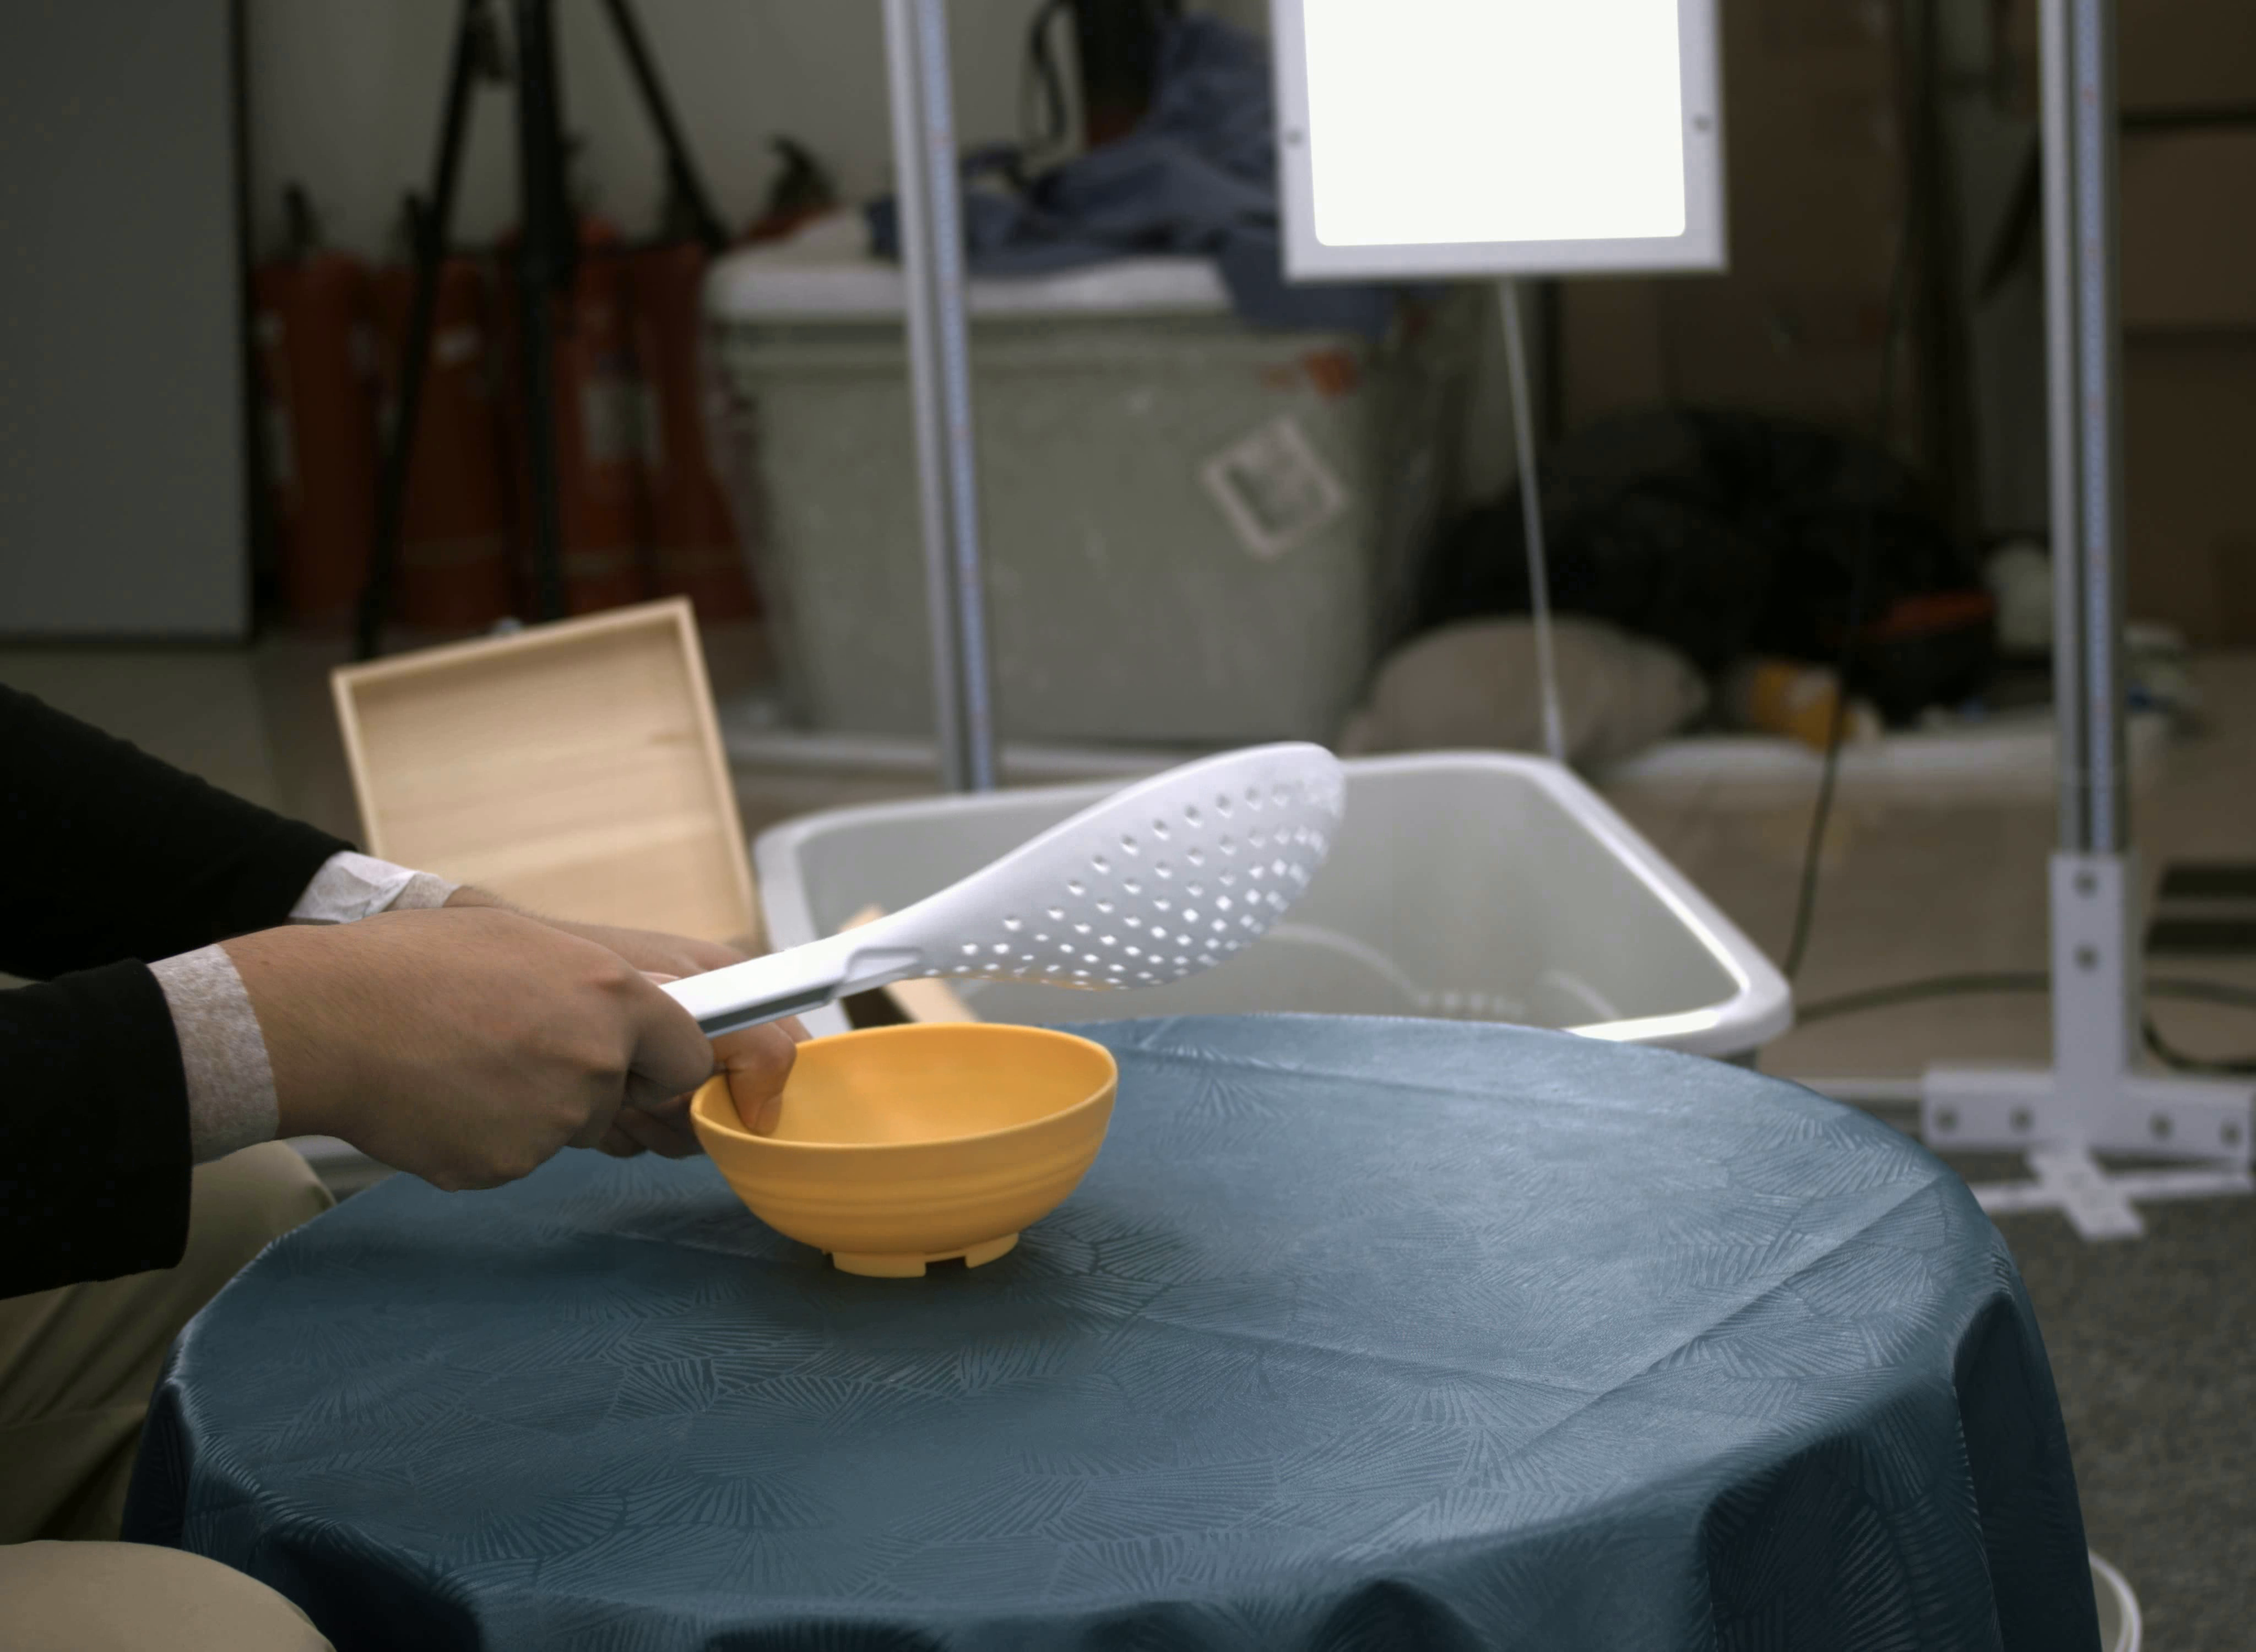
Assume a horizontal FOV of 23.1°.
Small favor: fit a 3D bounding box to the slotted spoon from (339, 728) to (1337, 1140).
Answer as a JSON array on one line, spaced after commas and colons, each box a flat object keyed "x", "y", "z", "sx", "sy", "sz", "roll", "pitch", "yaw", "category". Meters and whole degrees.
[{"x": -0.084, "y": 0.040, "z": 1.736, "sx": 0.343, "sy": 0.046, "sz": 0.138, "roll": -12, "pitch": -24, "yaw": -21, "category": "slotted spoon"}]

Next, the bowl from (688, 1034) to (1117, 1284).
[{"x": -0.074, "y": 0.116, "z": 1.852, "sx": 0.145, "sy": 0.060, "sz": 0.145, "roll": -3, "pitch": 13, "yaw": -1, "category": "bowl"}]
